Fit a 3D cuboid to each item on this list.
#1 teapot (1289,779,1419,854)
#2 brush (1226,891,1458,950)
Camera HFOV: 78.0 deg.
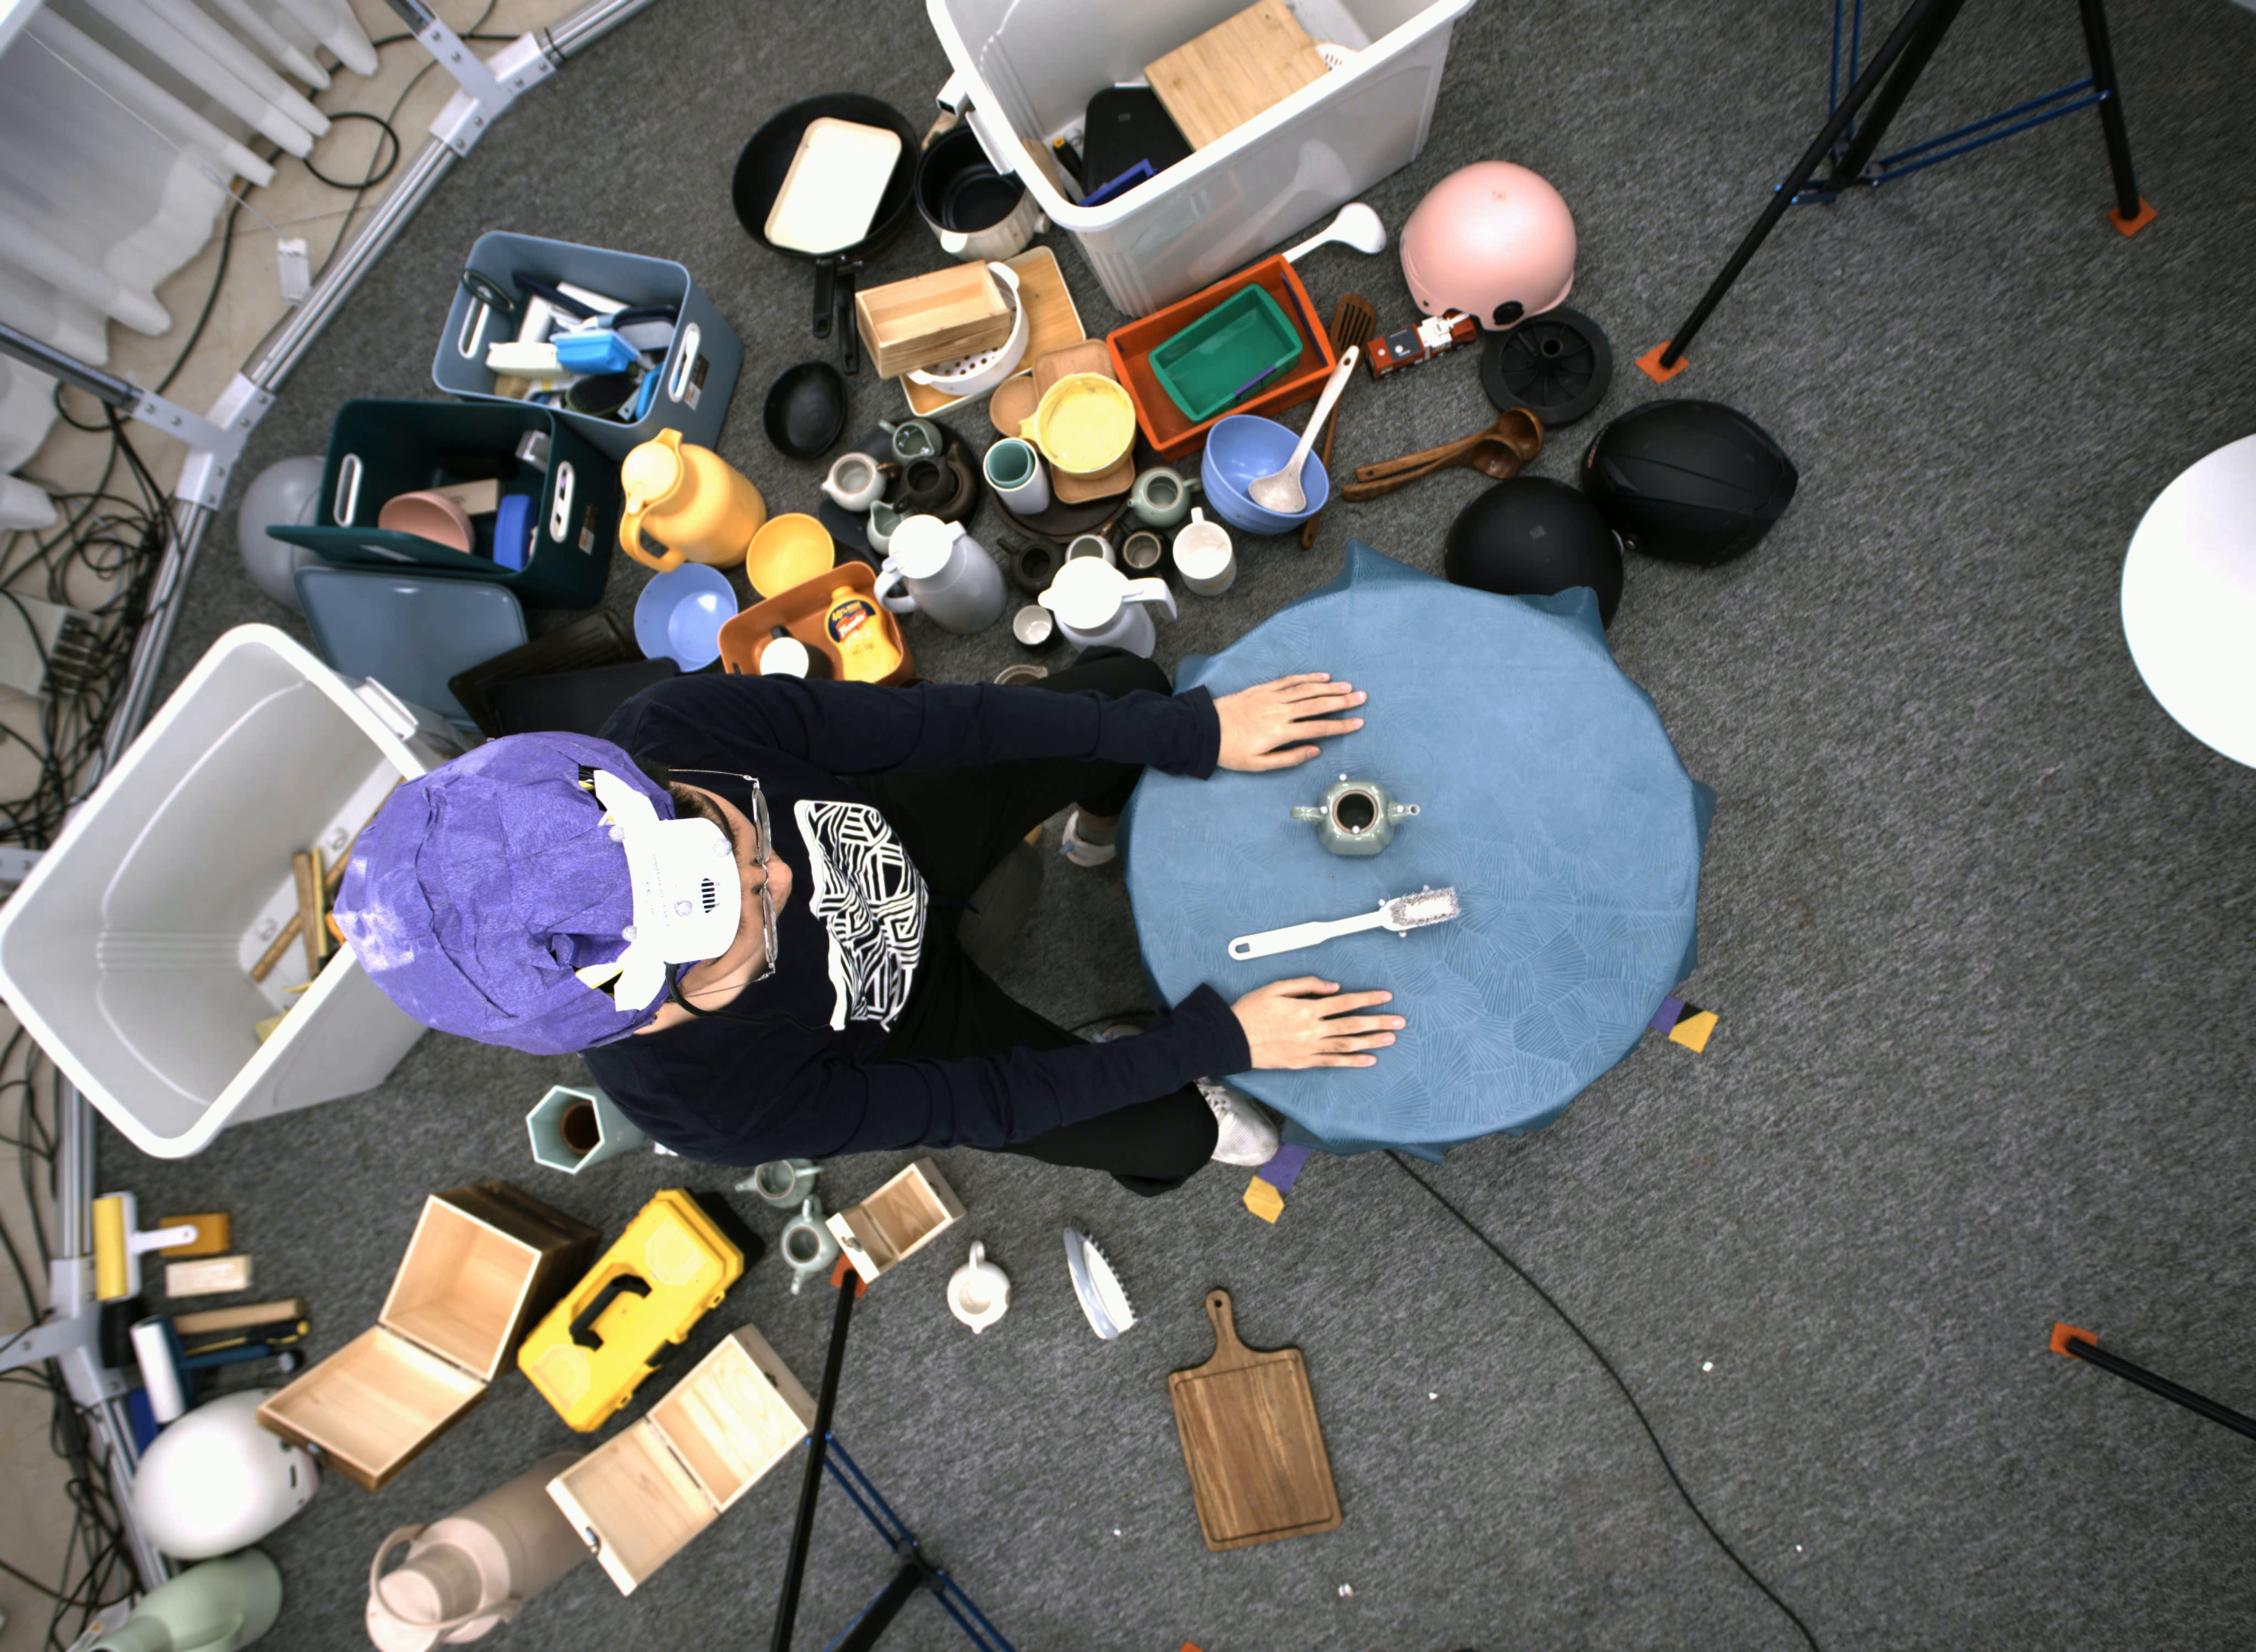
[{"bbox_3d":[0.234,-0.014,1.433,0.133,0.075,0.079,-2,85,11],"label":"teapot"},{"bbox_3d":[0.221,0.100,1.443,0.245,0.050,0.034,-10,88,10],"label":"brush"}]
